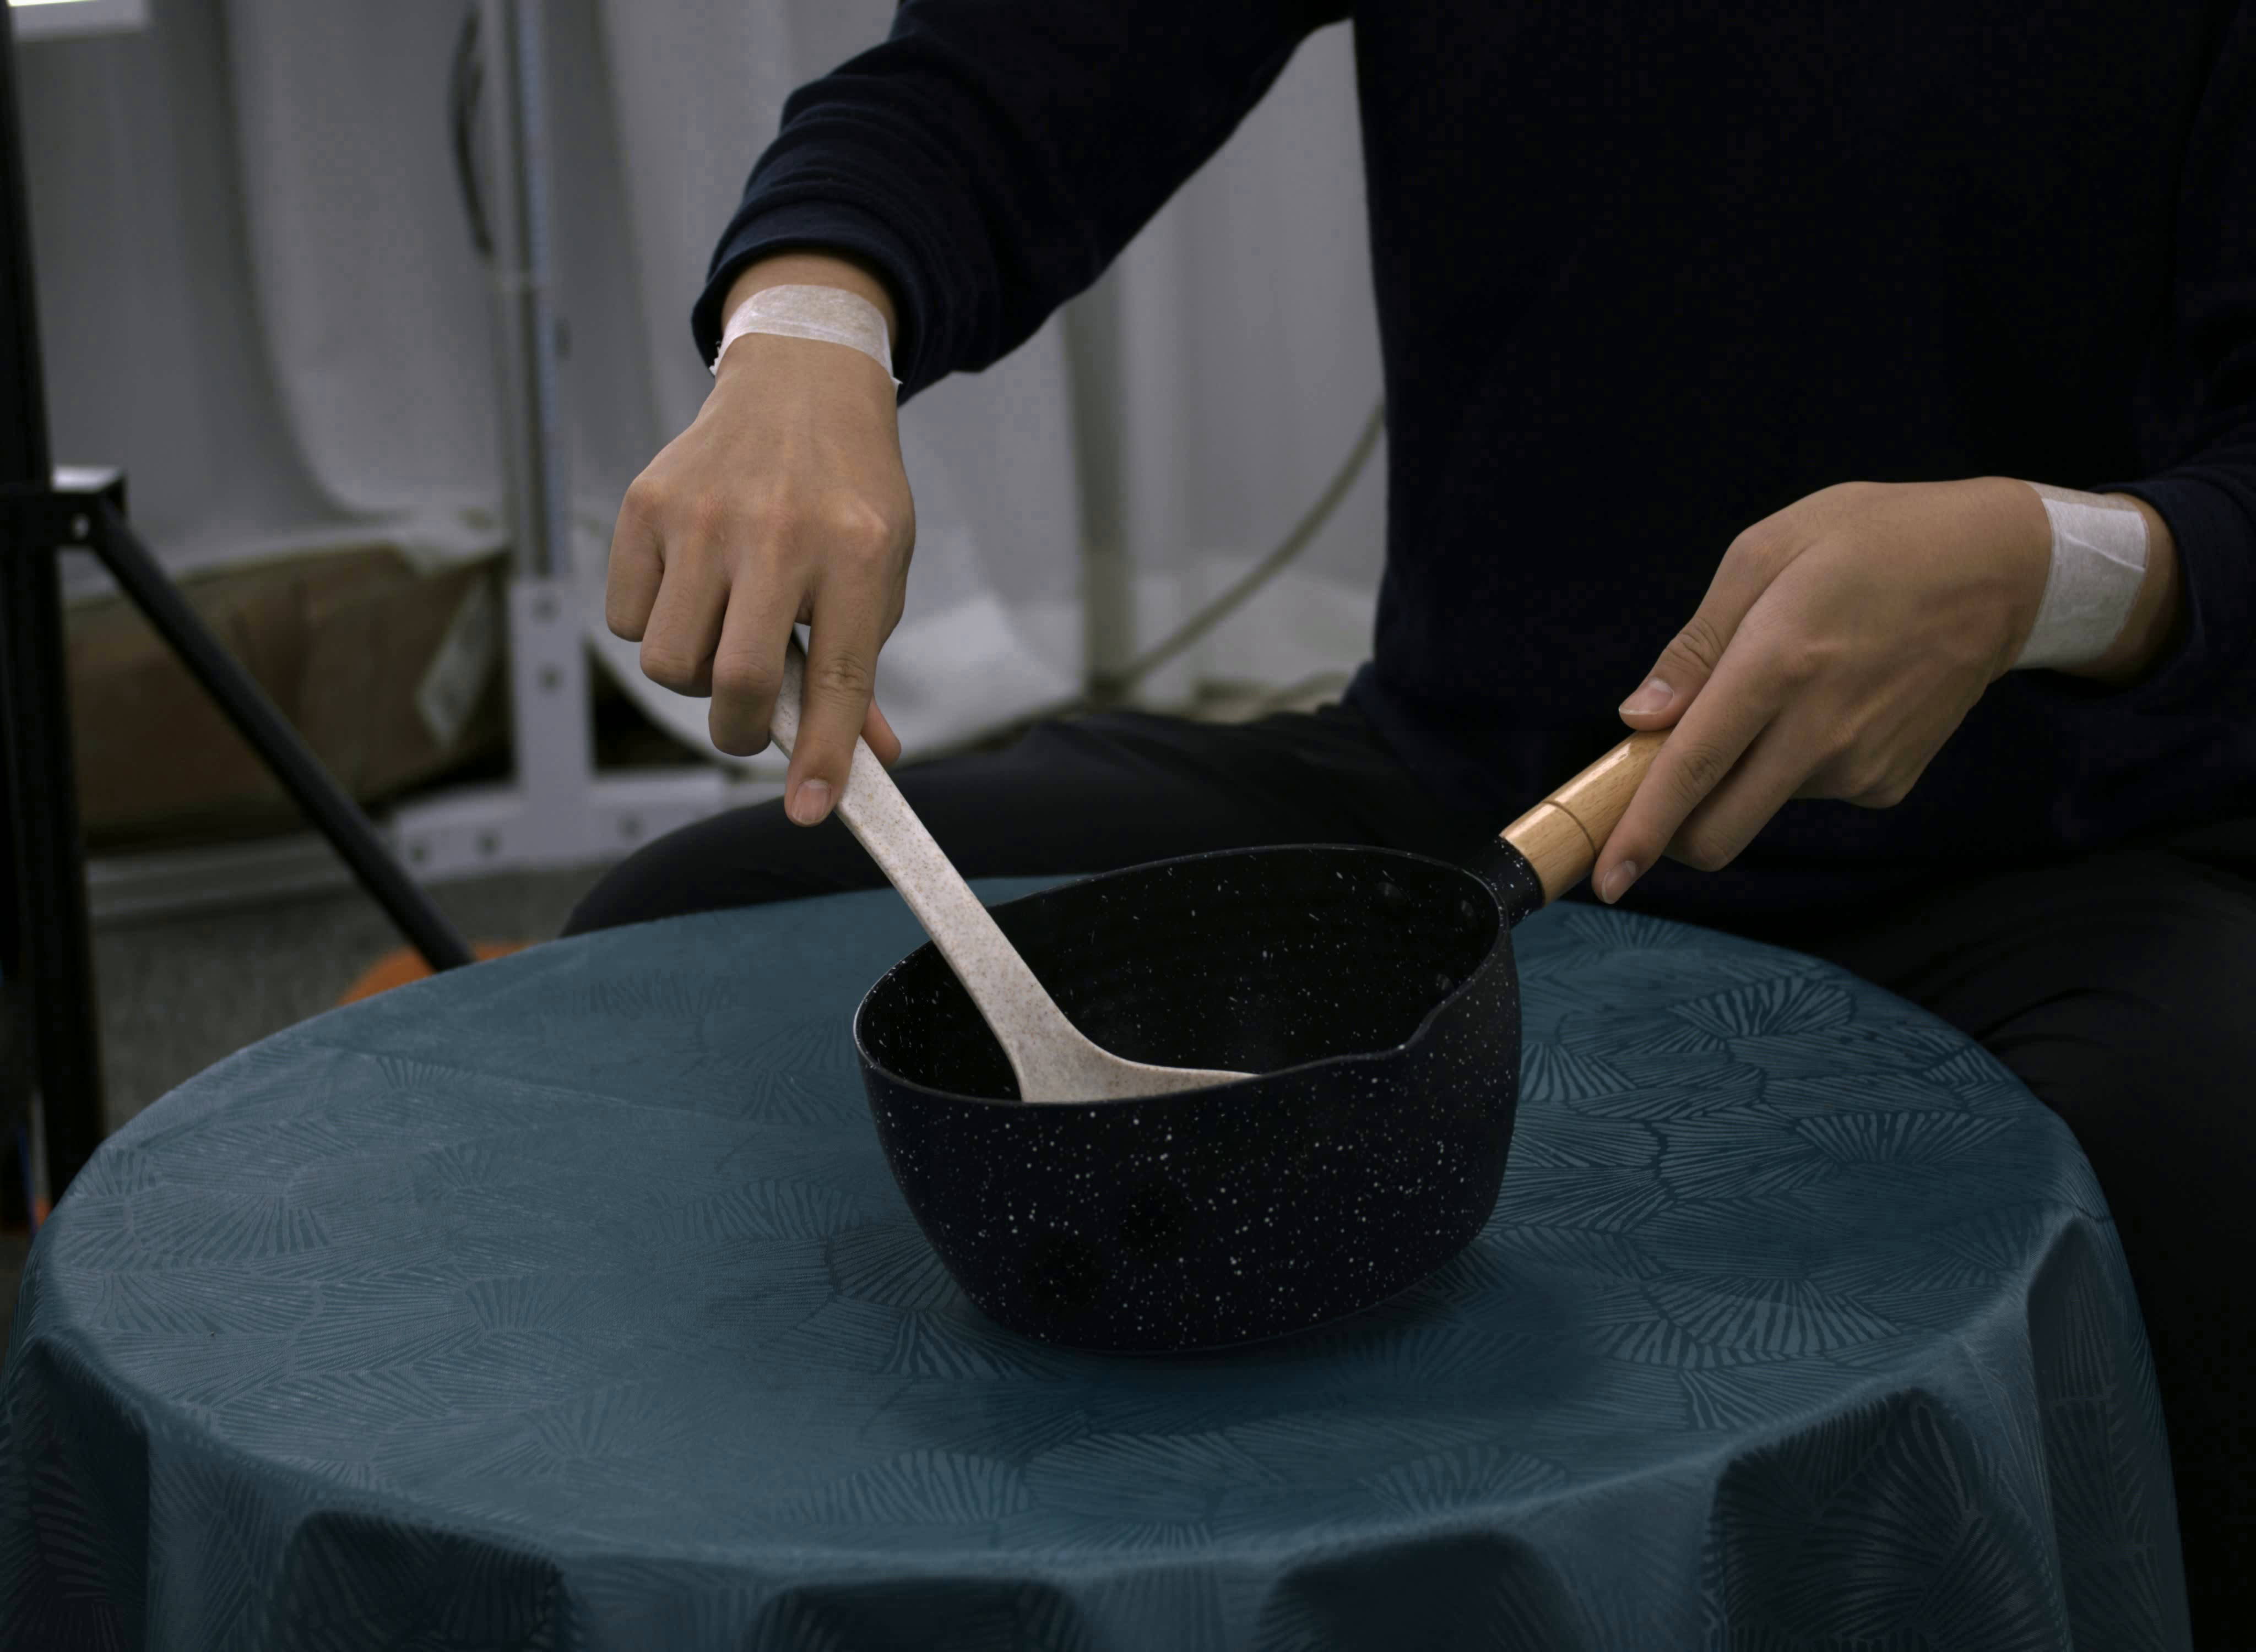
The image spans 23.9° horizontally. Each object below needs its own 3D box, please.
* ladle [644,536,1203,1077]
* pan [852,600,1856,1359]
[{"bbox_3d":[-0.052,0.006,1.509,0.088,0.069,0.278,-27,69,-27],"label":"ladle"},{"bbox_3d":[0.082,0.041,1.508,0.336,0.108,0.212,-24,21,-30],"label":"pan"}]
